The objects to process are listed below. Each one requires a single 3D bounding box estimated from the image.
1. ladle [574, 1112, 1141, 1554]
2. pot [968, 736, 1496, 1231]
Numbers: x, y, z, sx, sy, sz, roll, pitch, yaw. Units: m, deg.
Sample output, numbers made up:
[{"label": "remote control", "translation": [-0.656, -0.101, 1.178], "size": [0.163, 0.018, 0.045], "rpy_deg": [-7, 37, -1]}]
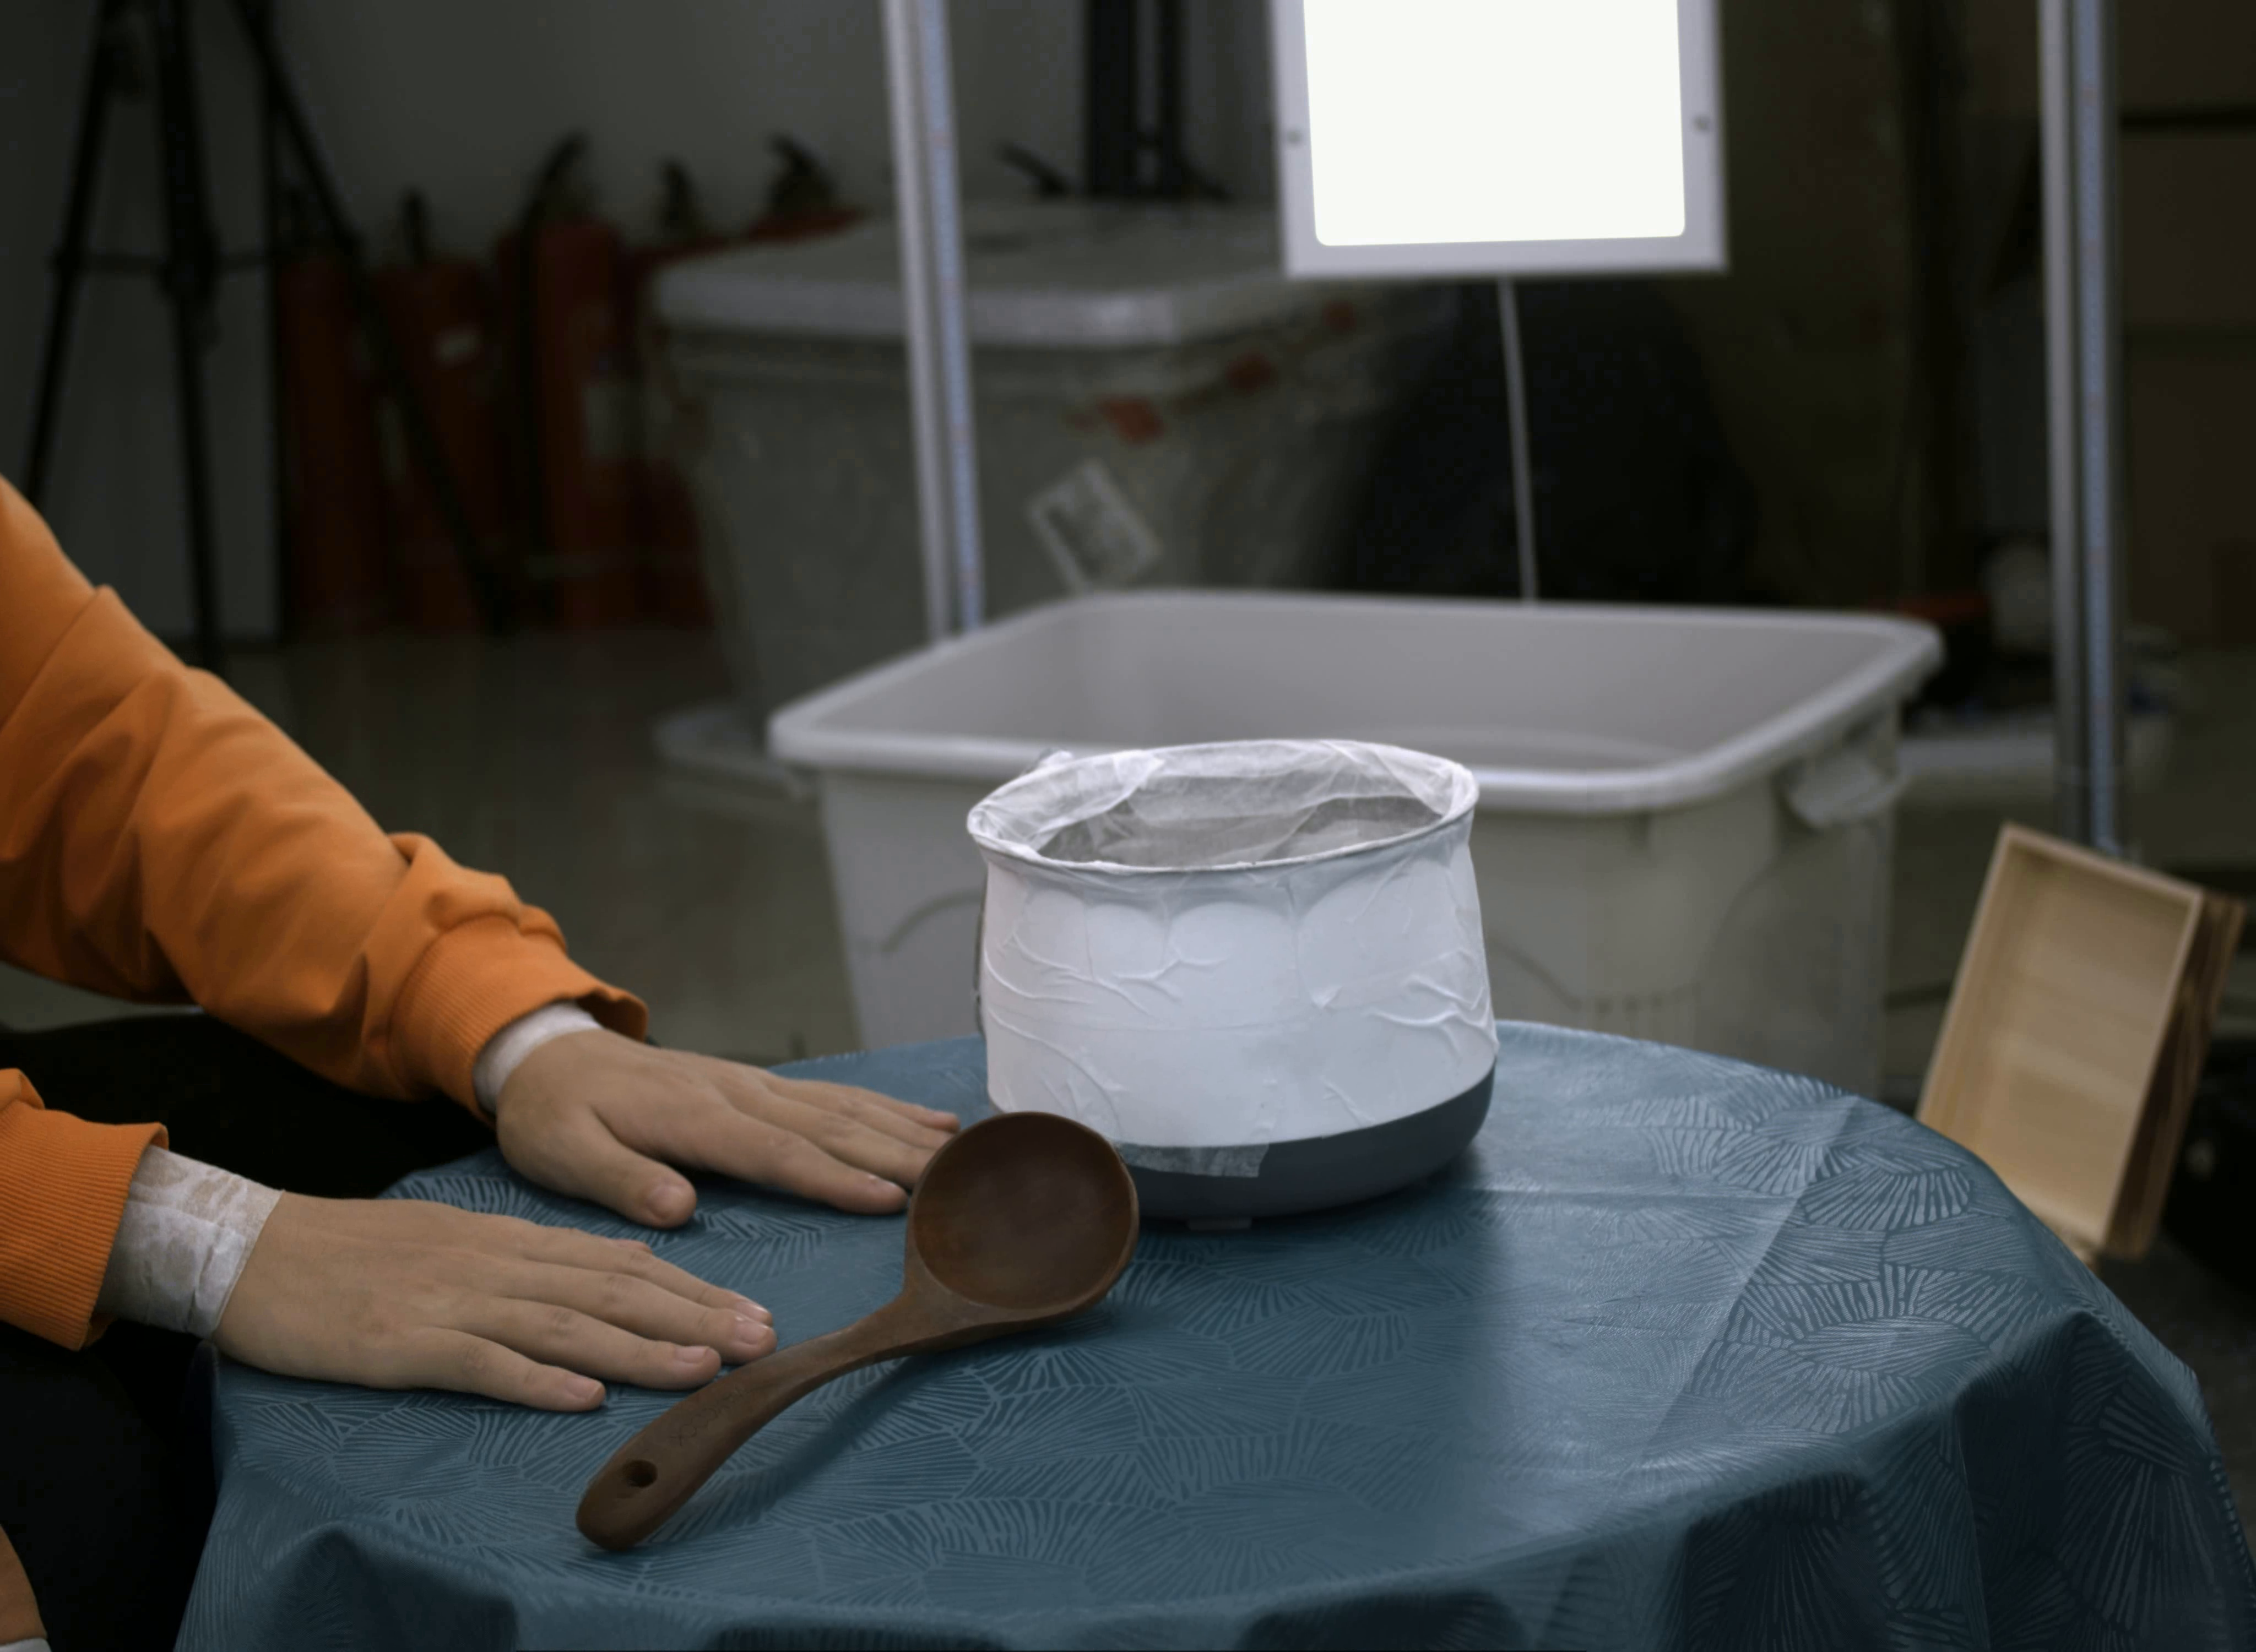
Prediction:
[{"label": "ladle", "translation": [-0.083, 0.152, 1.694], "size": [0.077, 0.066, 0.254], "rpy_deg": [27, 27, 24]}, {"label": "pot", "translation": [0.020, 0.048, 1.918], "size": [0.174, 0.137, 0.238], "rpy_deg": [-14, 17, -34]}]
